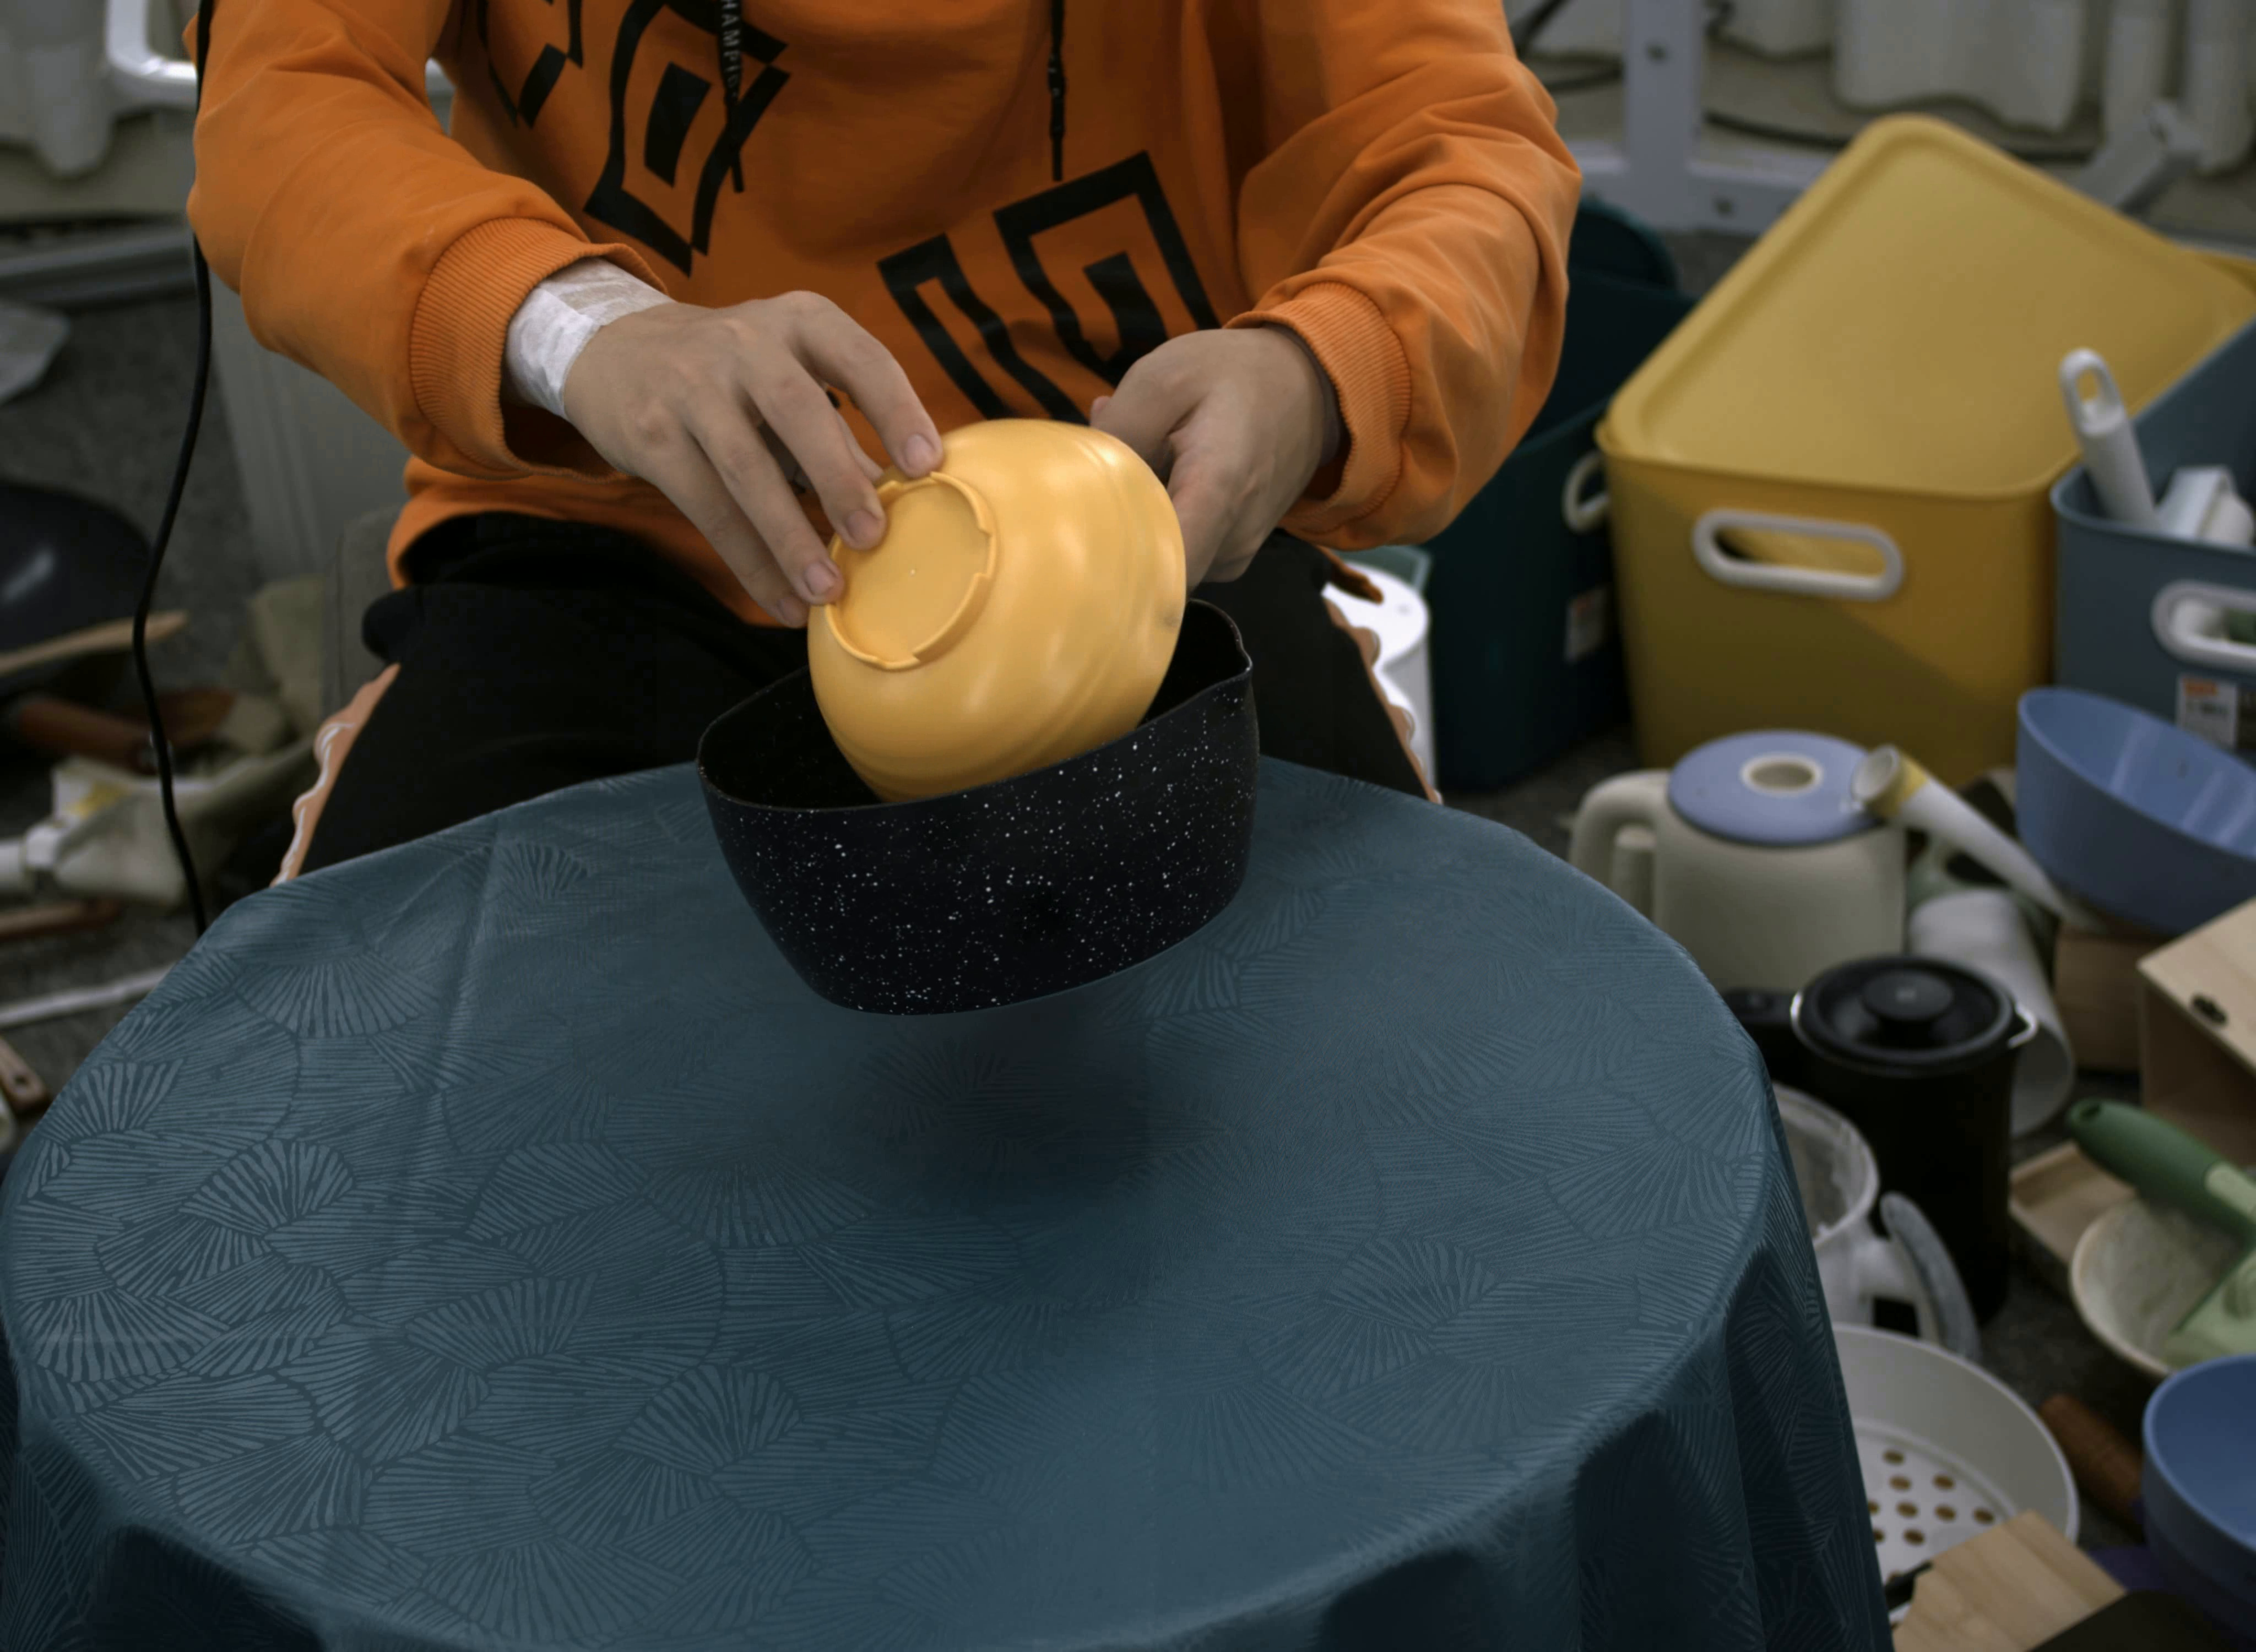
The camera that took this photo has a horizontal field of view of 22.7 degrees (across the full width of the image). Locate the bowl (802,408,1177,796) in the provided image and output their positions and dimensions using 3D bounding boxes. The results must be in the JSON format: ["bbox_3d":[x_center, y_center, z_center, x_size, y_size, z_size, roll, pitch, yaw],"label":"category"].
[{"bbox_3d":[-0.058,-0.078,1.841,0.145,0.146,0.060,24,-5,42],"label":"bowl"}]

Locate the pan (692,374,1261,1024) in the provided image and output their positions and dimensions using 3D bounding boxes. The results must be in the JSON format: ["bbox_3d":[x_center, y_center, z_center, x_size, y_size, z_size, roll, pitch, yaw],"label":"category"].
[{"bbox_3d":[-0.024,-0.047,1.932,0.205,0.107,0.348,-8,22,20],"label":"pan"}]
